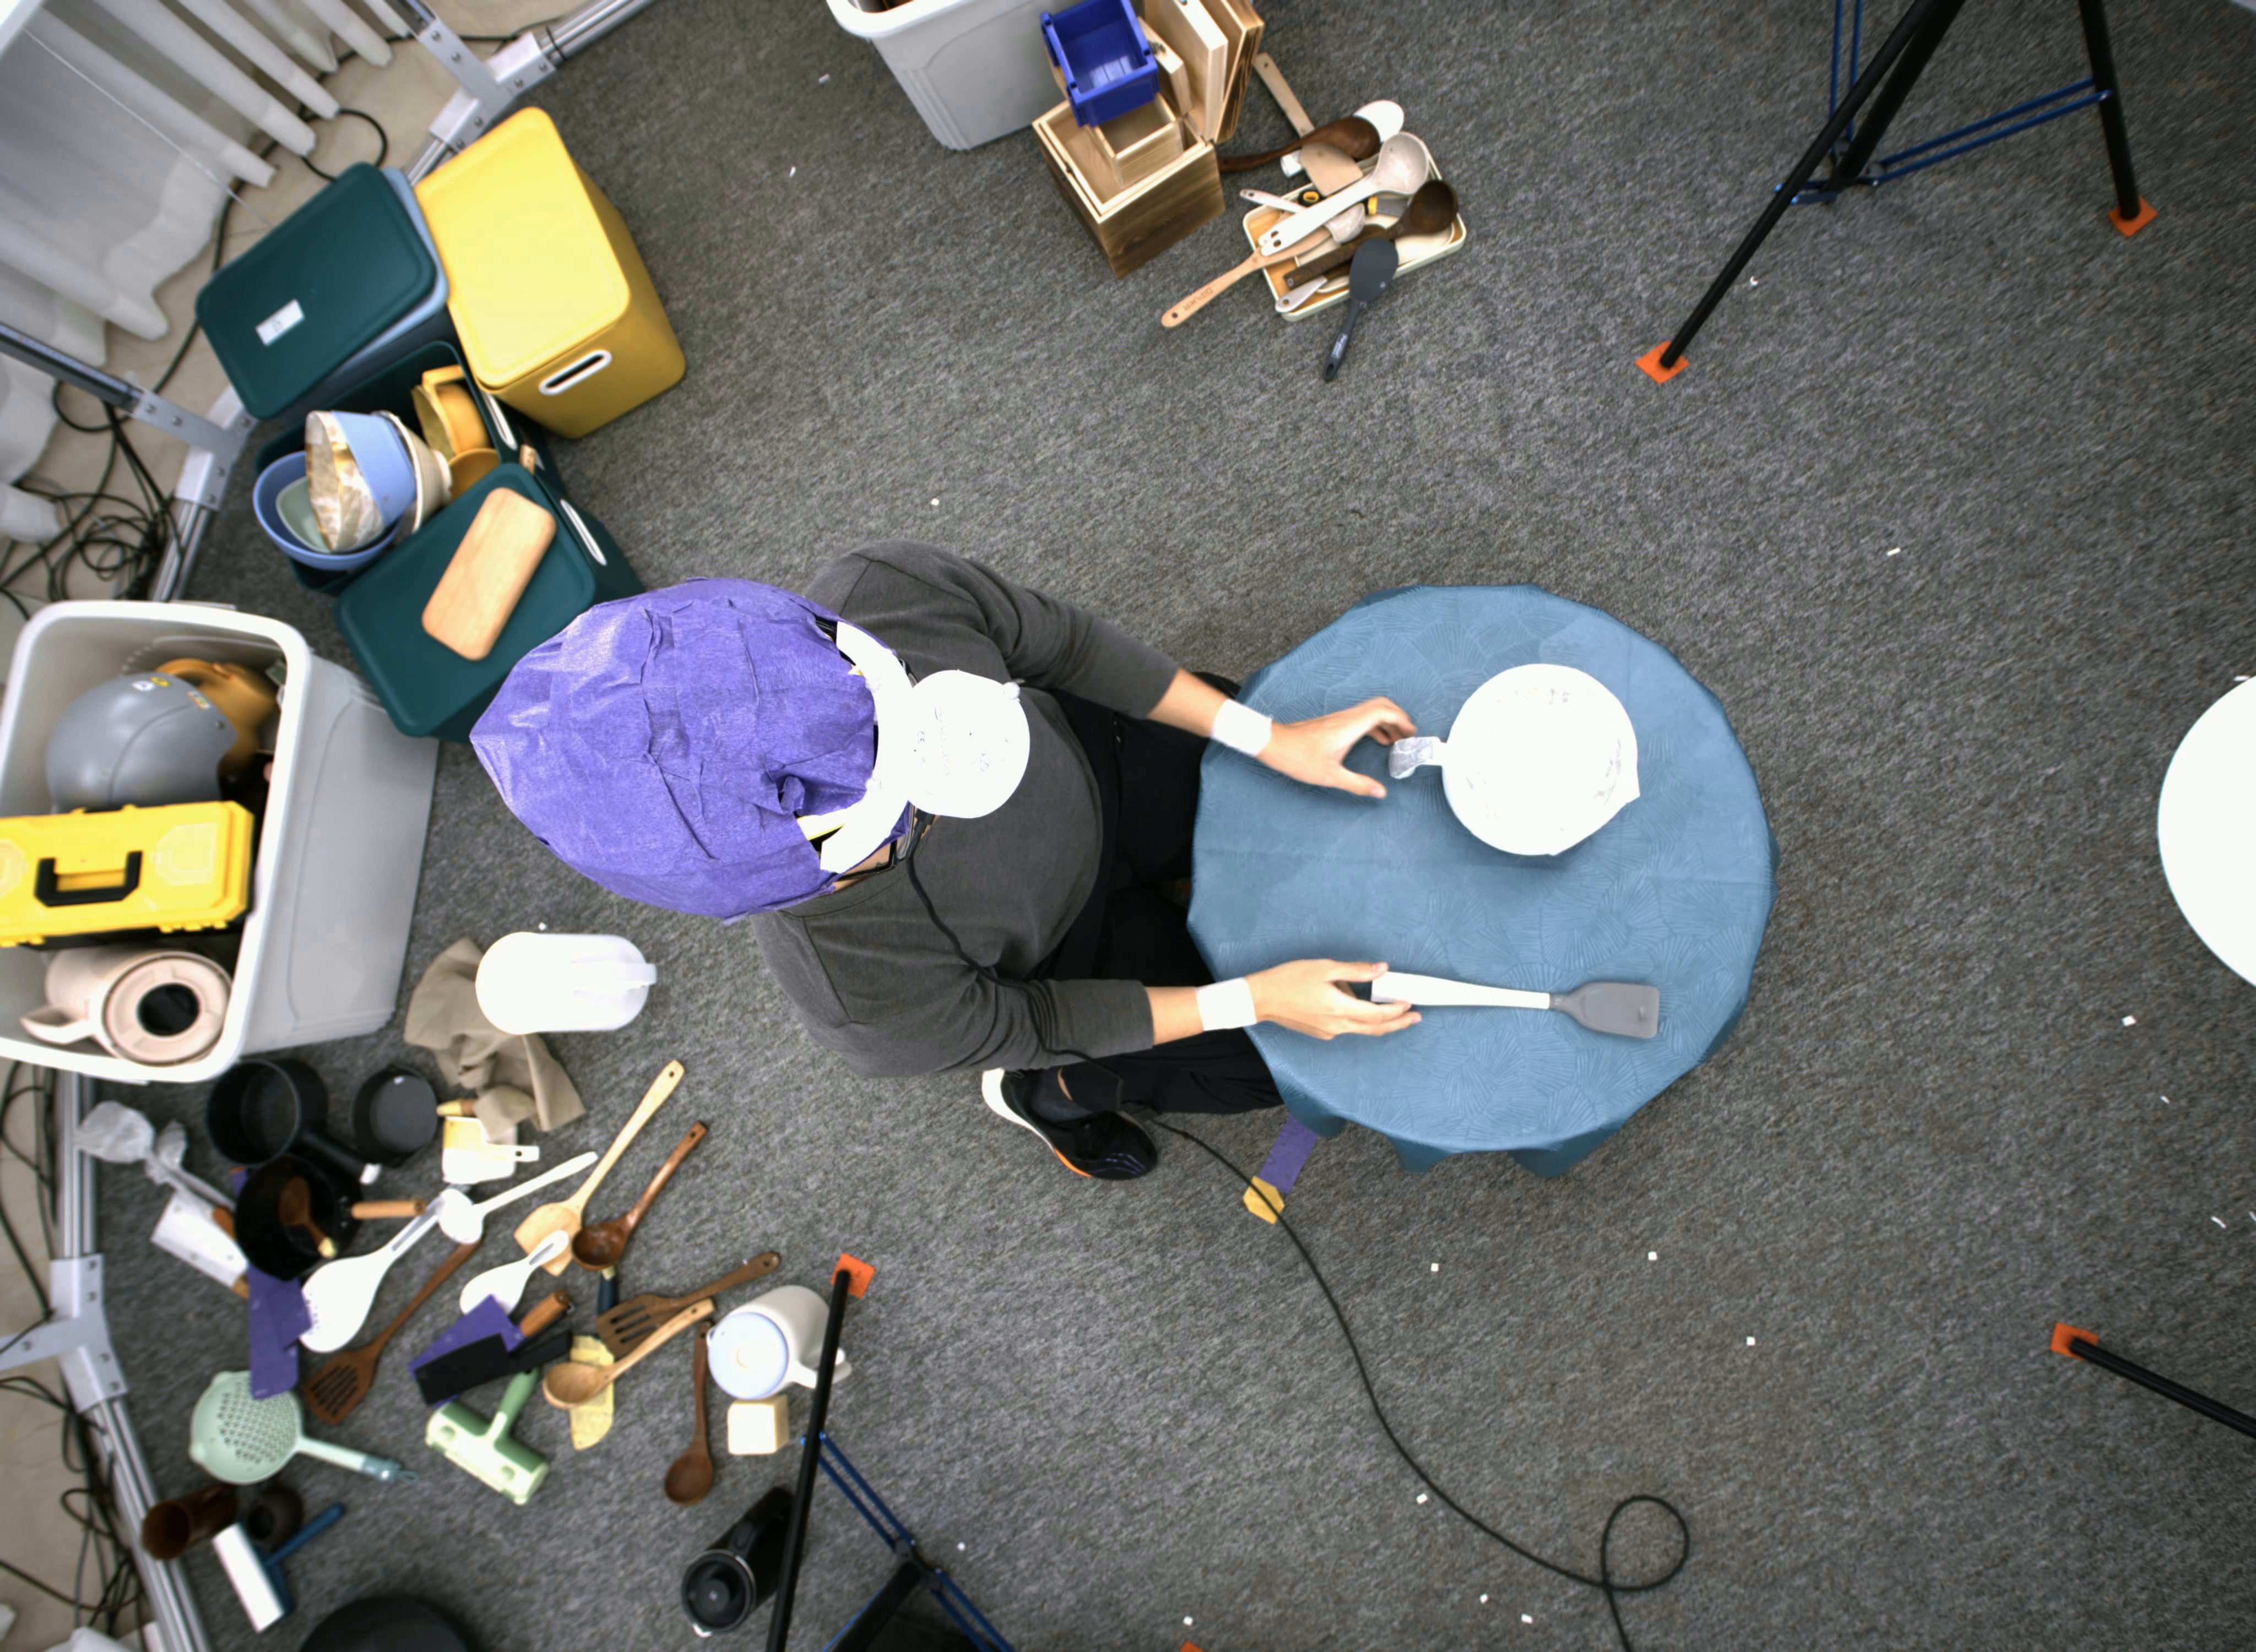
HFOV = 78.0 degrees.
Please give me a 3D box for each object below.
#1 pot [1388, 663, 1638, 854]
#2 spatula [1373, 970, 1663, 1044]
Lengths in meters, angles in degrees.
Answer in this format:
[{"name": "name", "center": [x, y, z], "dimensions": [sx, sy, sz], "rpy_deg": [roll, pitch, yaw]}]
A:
[{"name": "pot", "center": [0.380, -0.066, 1.377], "dimensions": [0.234, 0.137, 0.178], "rpy_deg": [3, 86, 11]}, {"name": "spatula", "center": [0.397, 0.176, 1.413], "dimensions": [0.288, 0.032, 0.058], "rpy_deg": [5, 84, 11]}]
